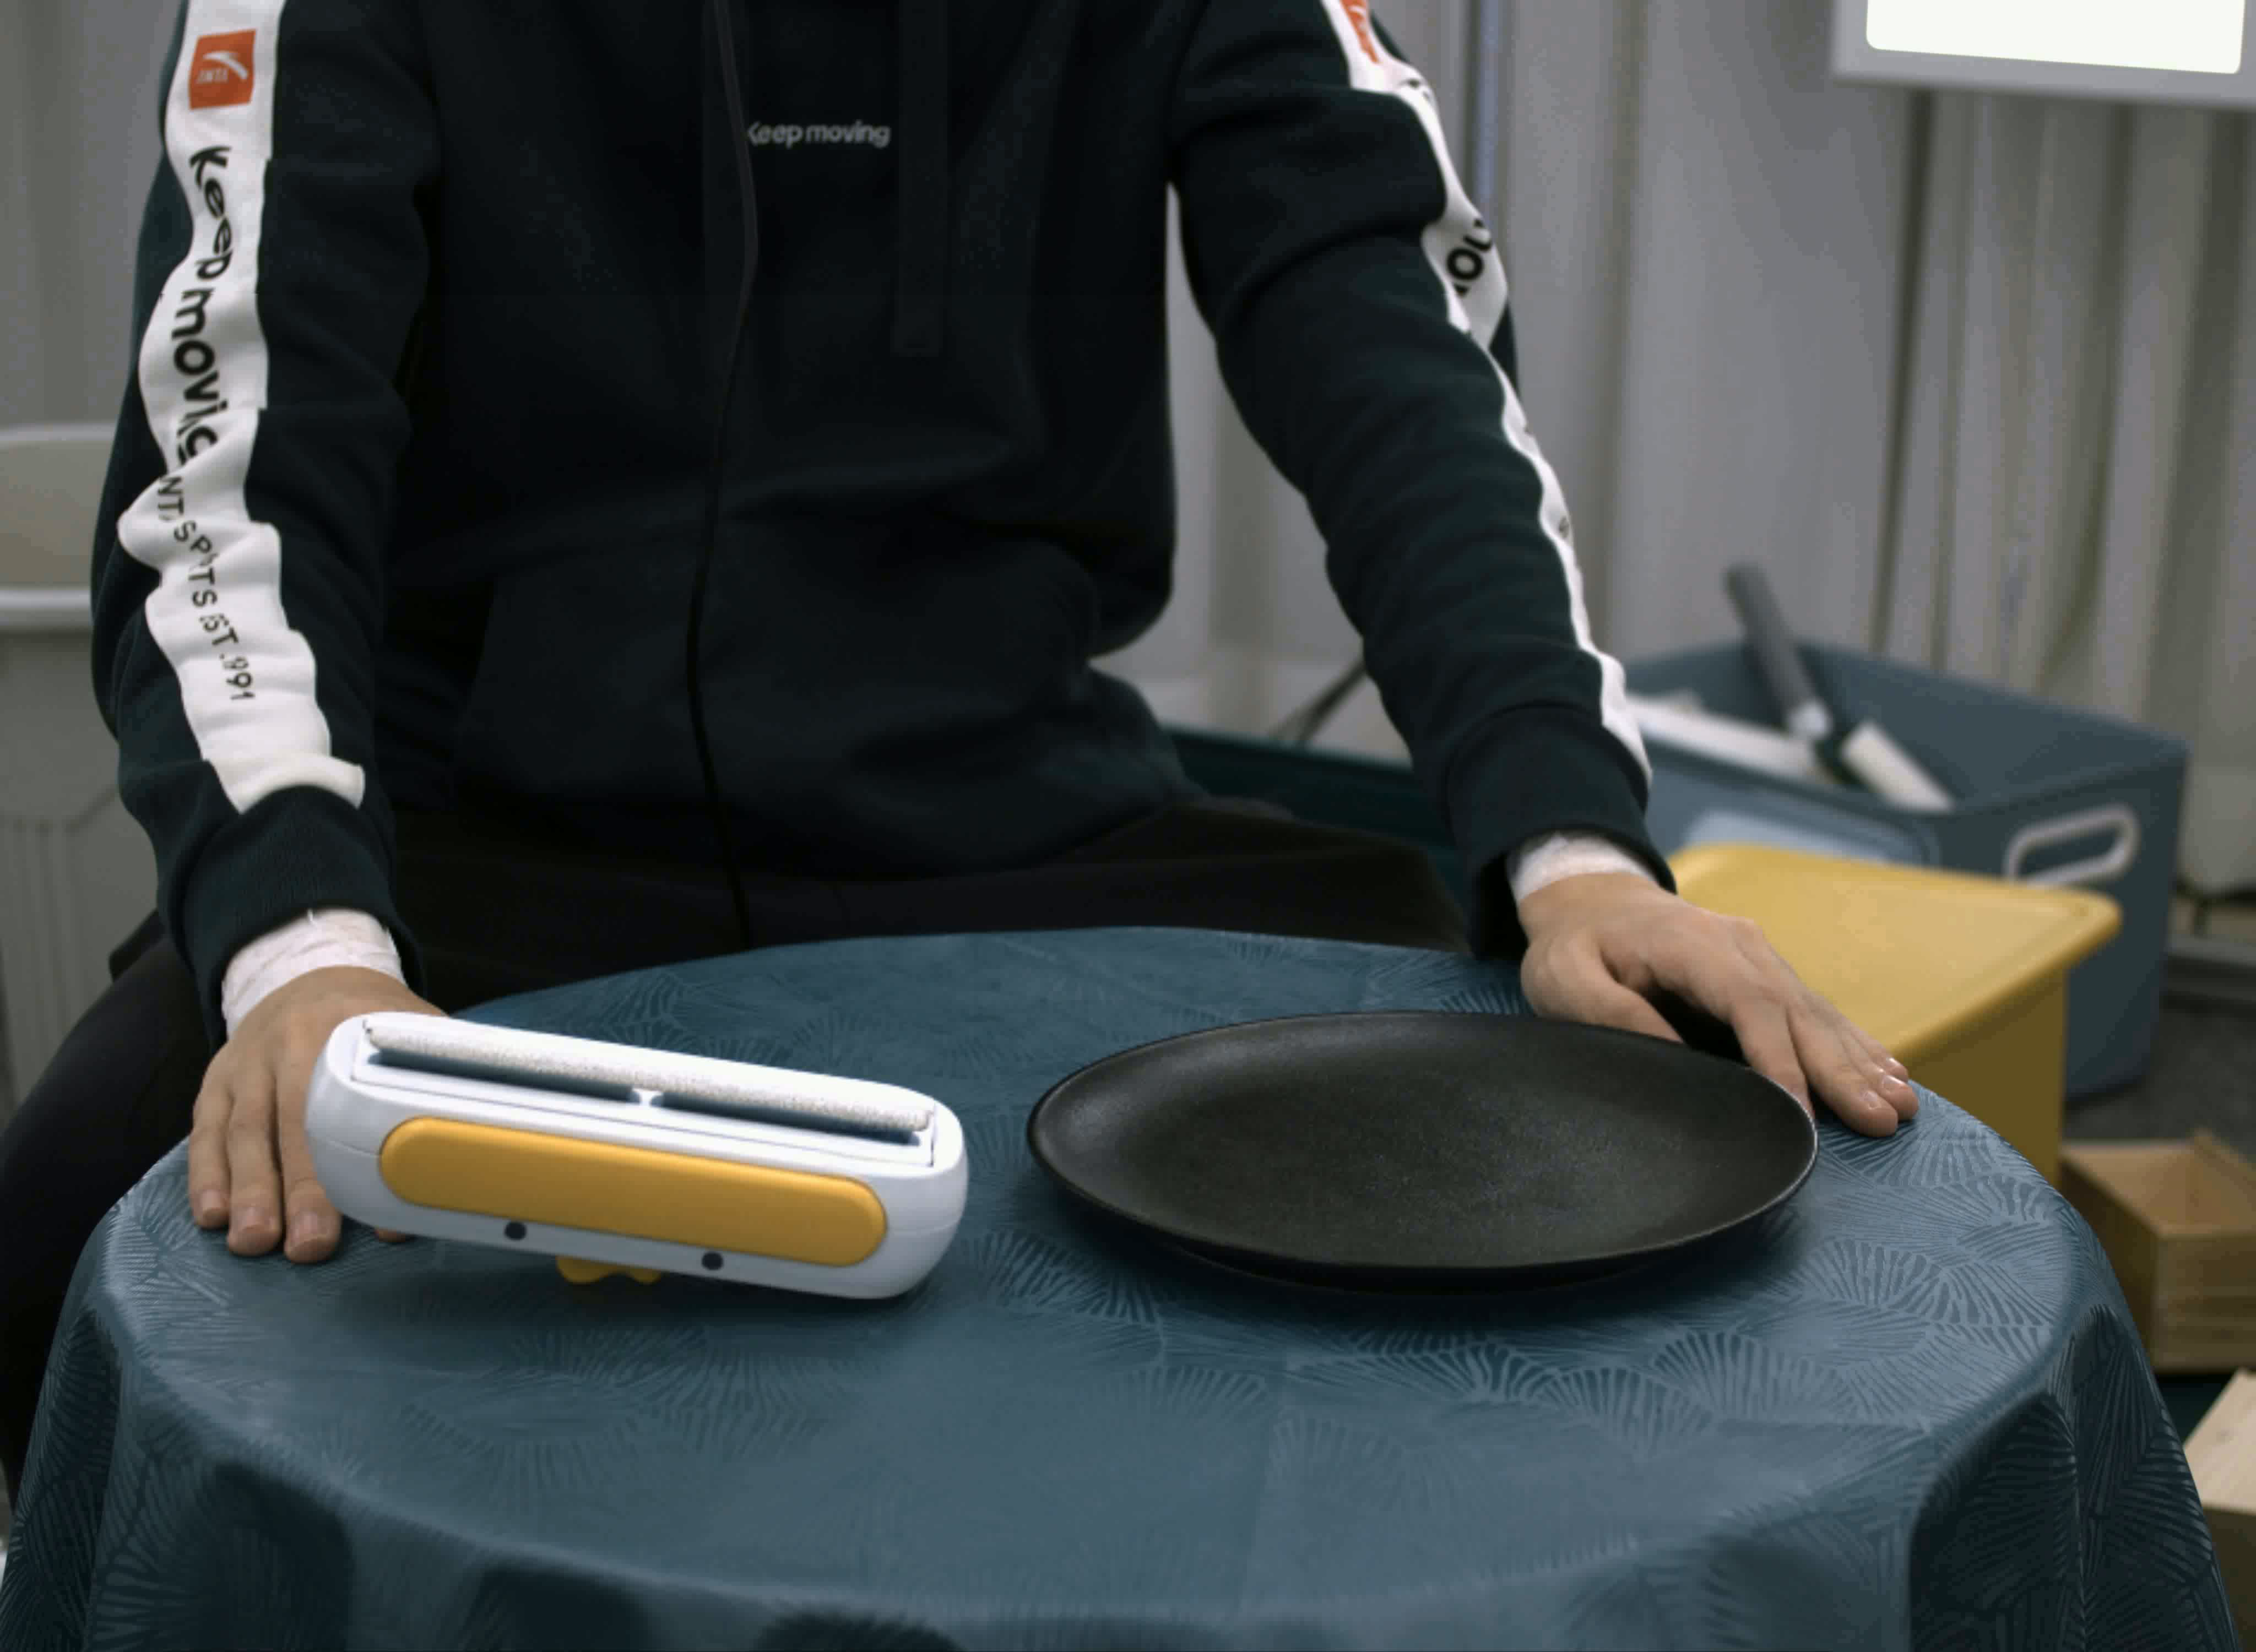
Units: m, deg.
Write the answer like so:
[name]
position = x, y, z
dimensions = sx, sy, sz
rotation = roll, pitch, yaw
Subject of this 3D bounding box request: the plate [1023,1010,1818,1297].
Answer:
[plate]
position = 0.089, 0.103, 1.614
dimensions = 0.243, 0.023, 0.243
rotation = 1, 15, 0

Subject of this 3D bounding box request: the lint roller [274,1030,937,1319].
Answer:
[lint roller]
position = -0.151, 0.106, 1.581
dimensions = 0.192, 0.074, 0.192
rotation = 7, 1, 0
